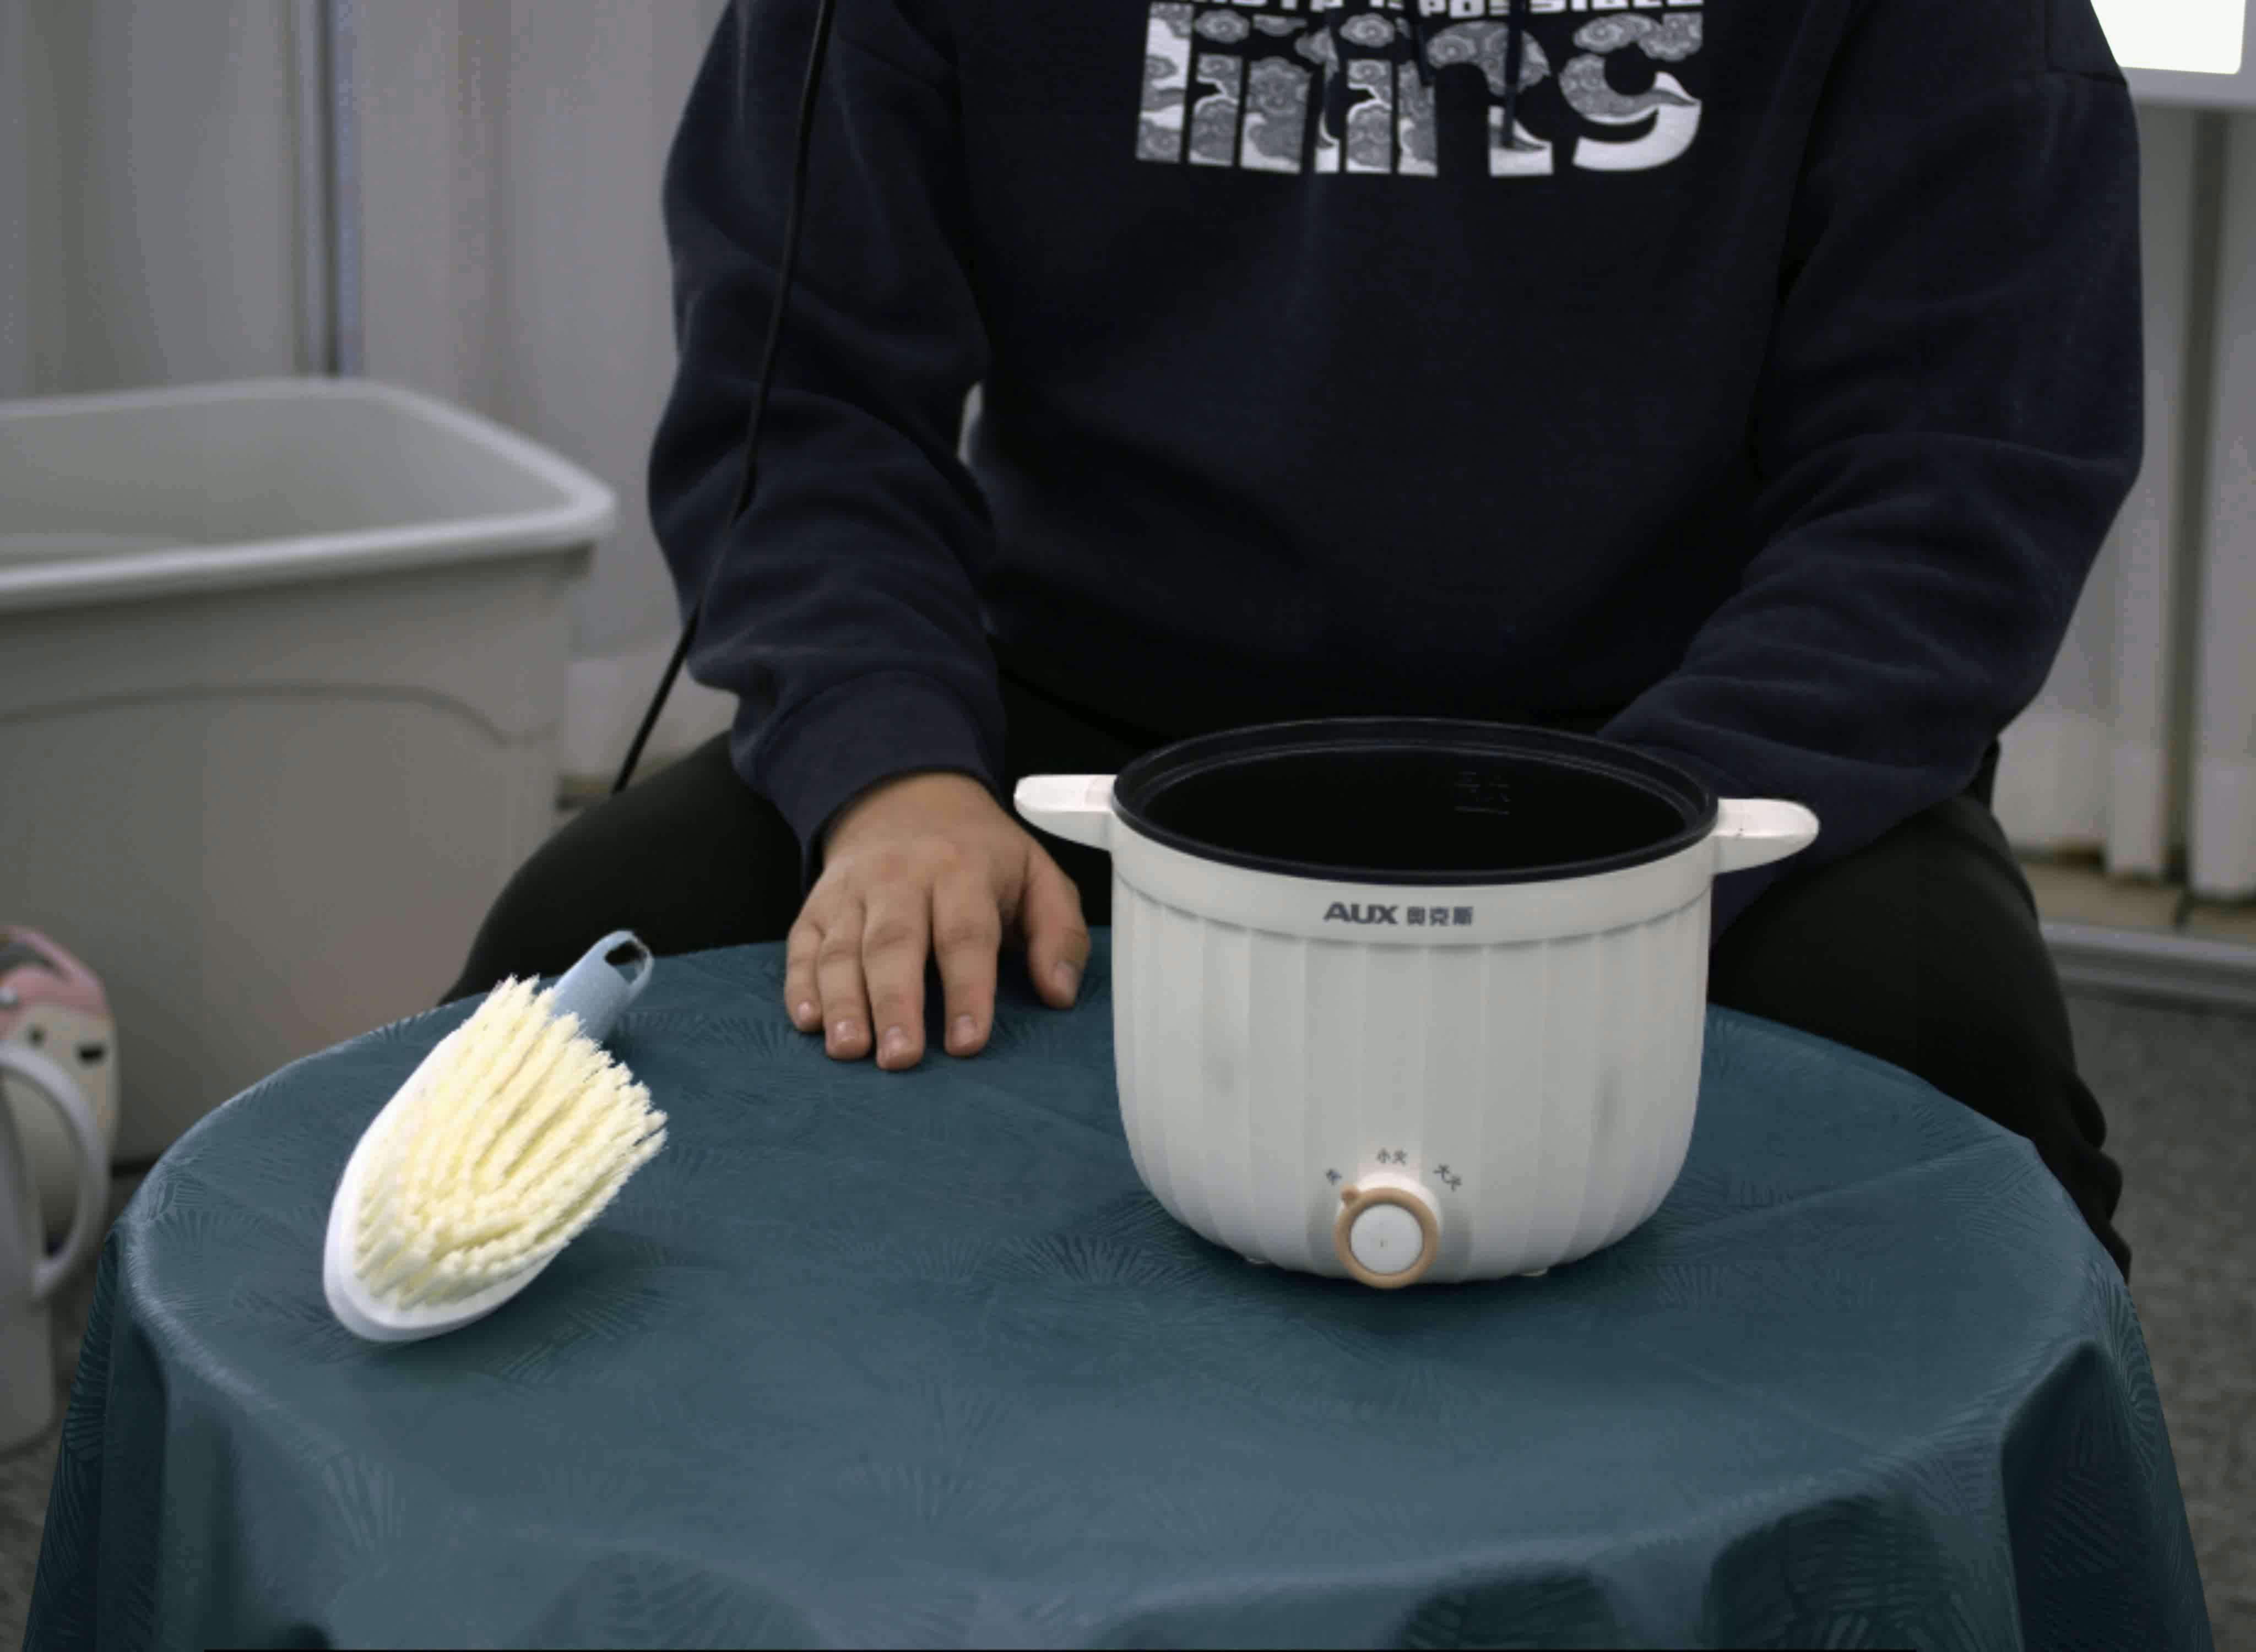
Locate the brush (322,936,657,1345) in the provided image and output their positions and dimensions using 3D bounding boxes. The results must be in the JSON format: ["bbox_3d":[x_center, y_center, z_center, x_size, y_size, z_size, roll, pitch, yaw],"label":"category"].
[{"bbox_3d":[-0.174,0.068,1.619,0.084,0.084,0.324,-4,16,10],"label":"brush"}]

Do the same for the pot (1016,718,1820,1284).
[{"bbox_3d":[0.085,0.054,1.579,0.239,0.143,0.190,1,13,5],"label":"pot"}]
